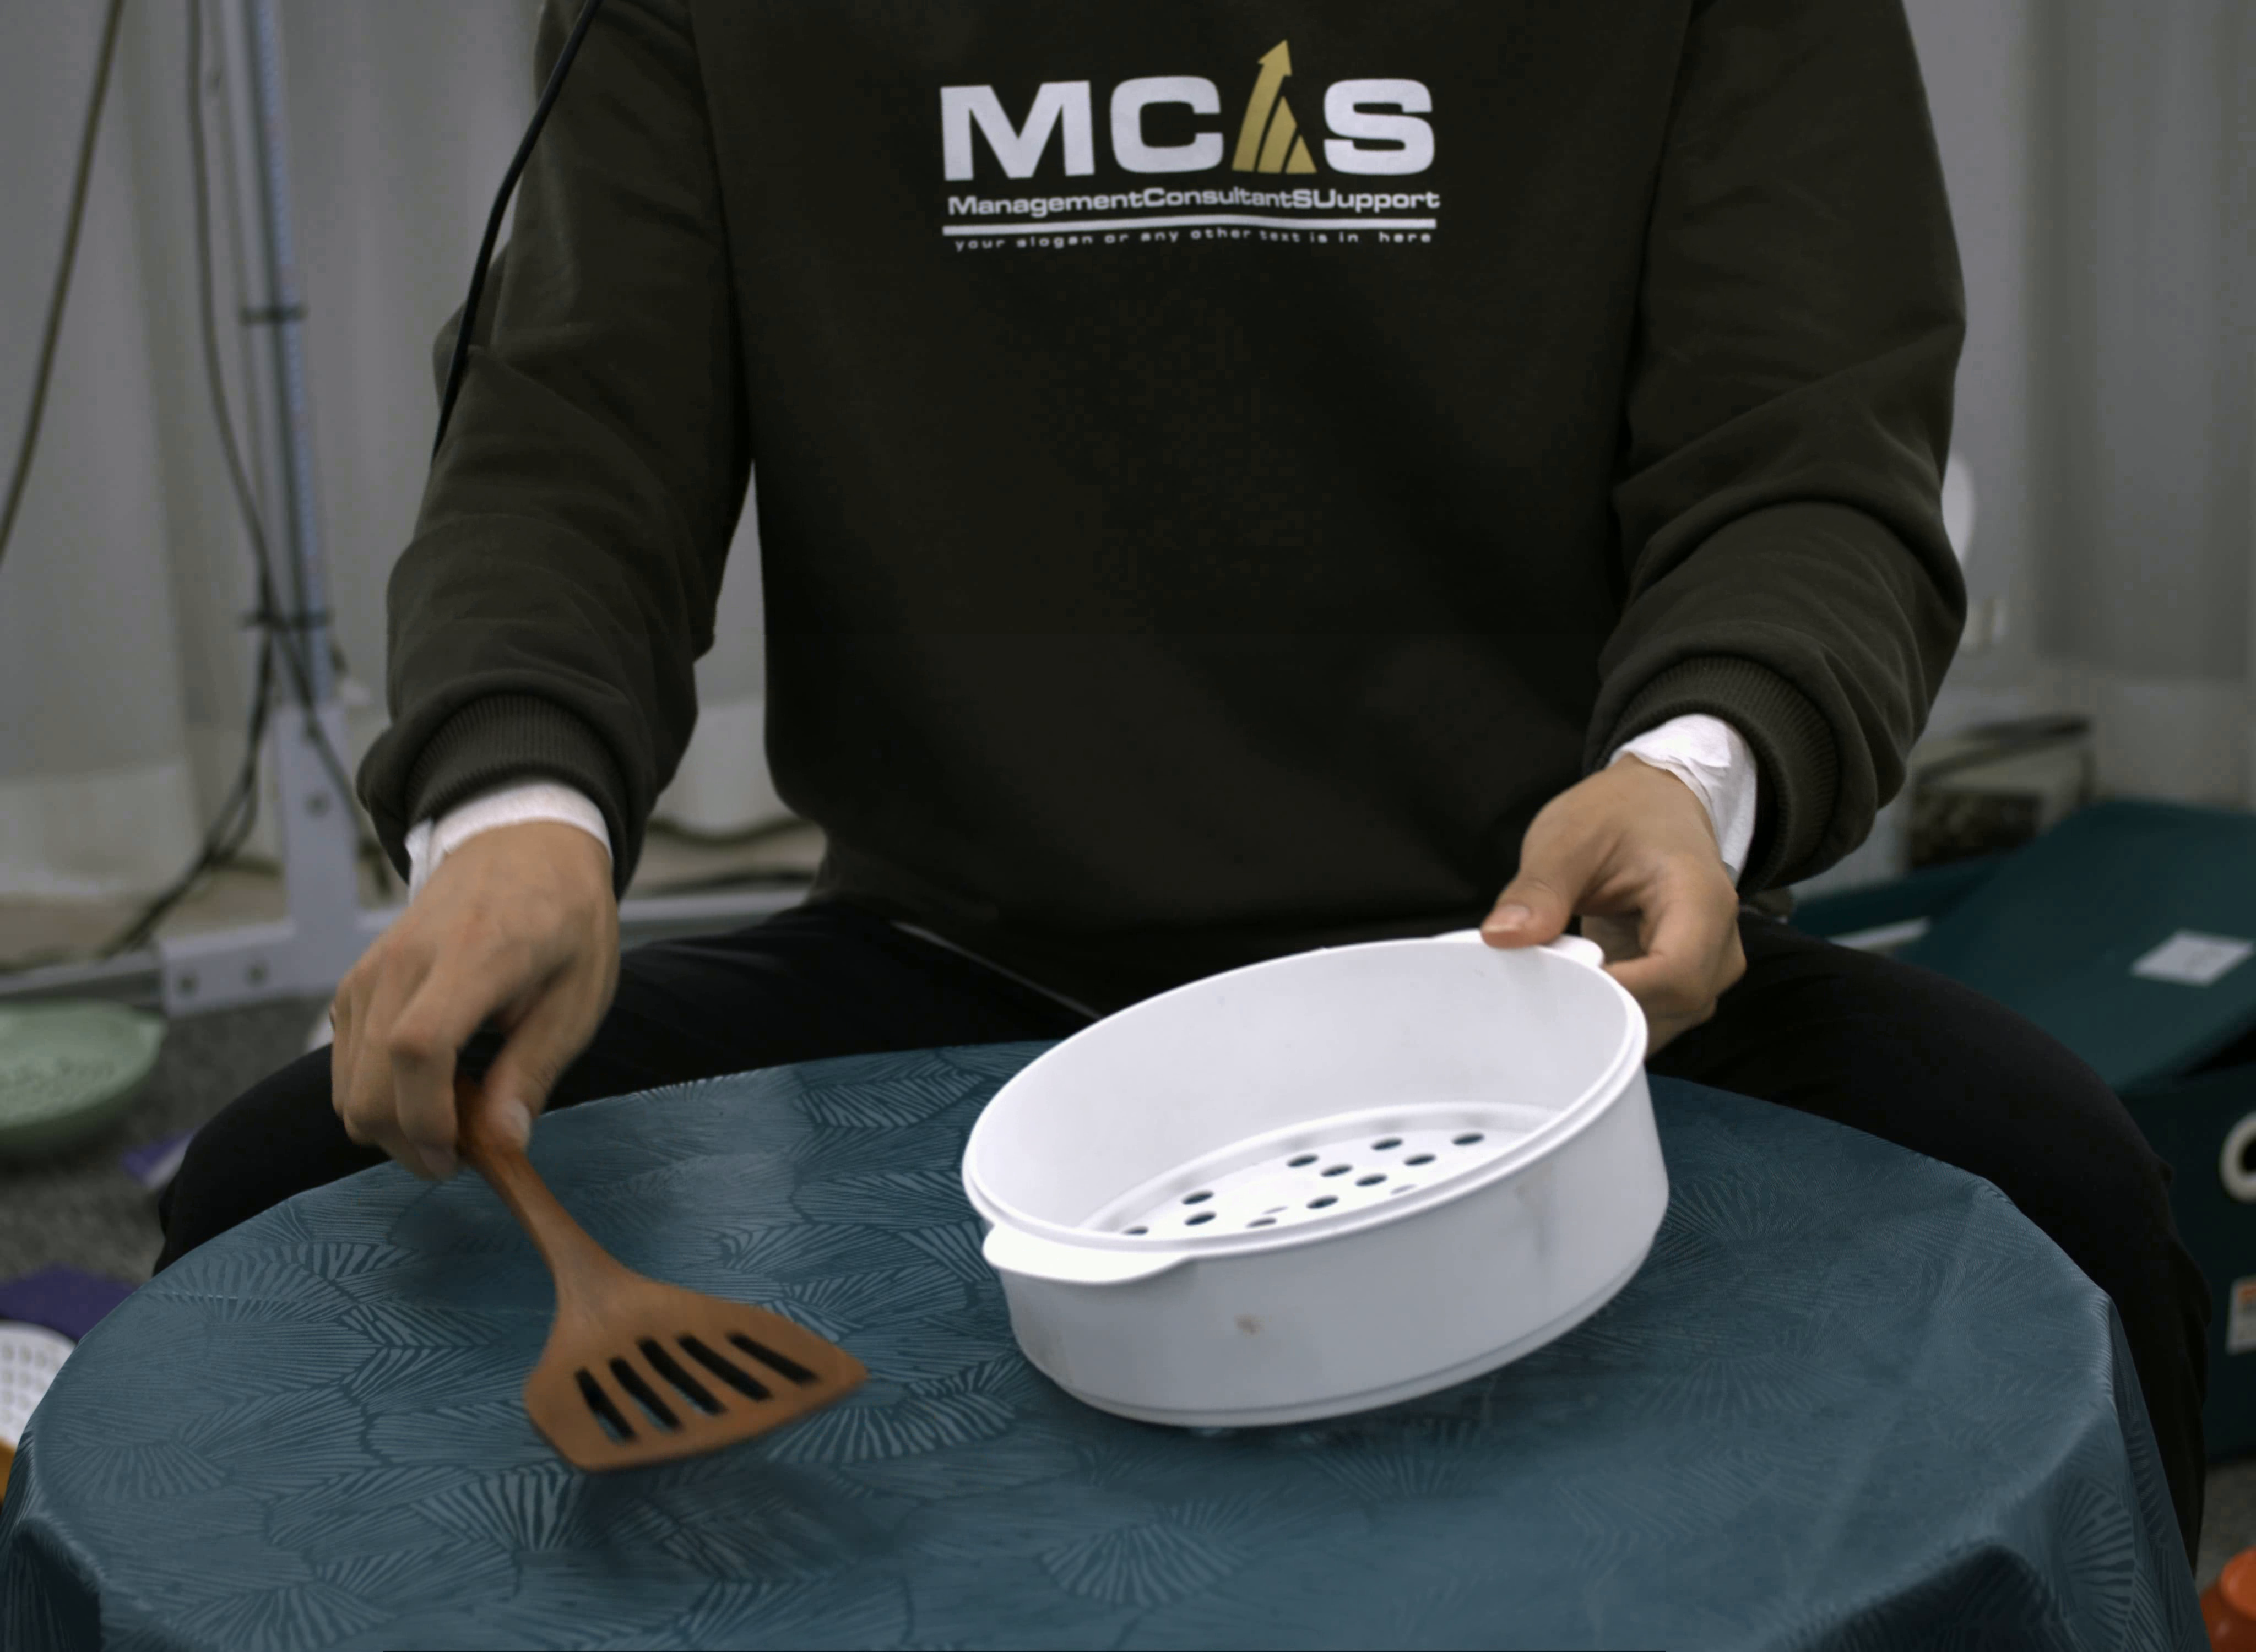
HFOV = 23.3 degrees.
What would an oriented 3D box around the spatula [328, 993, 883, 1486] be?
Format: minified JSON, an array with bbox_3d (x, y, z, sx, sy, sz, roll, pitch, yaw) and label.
[{"bbox_3d":[-0.173,0.115,1.591,0.085,0.023,0.389,-16,23,-19],"label":"spatula"}]

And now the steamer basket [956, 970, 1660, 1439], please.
[{"bbox_3d":[0.054,0.109,1.567,0.203,0.069,0.231,8,24,42],"label":"steamer basket"}]
